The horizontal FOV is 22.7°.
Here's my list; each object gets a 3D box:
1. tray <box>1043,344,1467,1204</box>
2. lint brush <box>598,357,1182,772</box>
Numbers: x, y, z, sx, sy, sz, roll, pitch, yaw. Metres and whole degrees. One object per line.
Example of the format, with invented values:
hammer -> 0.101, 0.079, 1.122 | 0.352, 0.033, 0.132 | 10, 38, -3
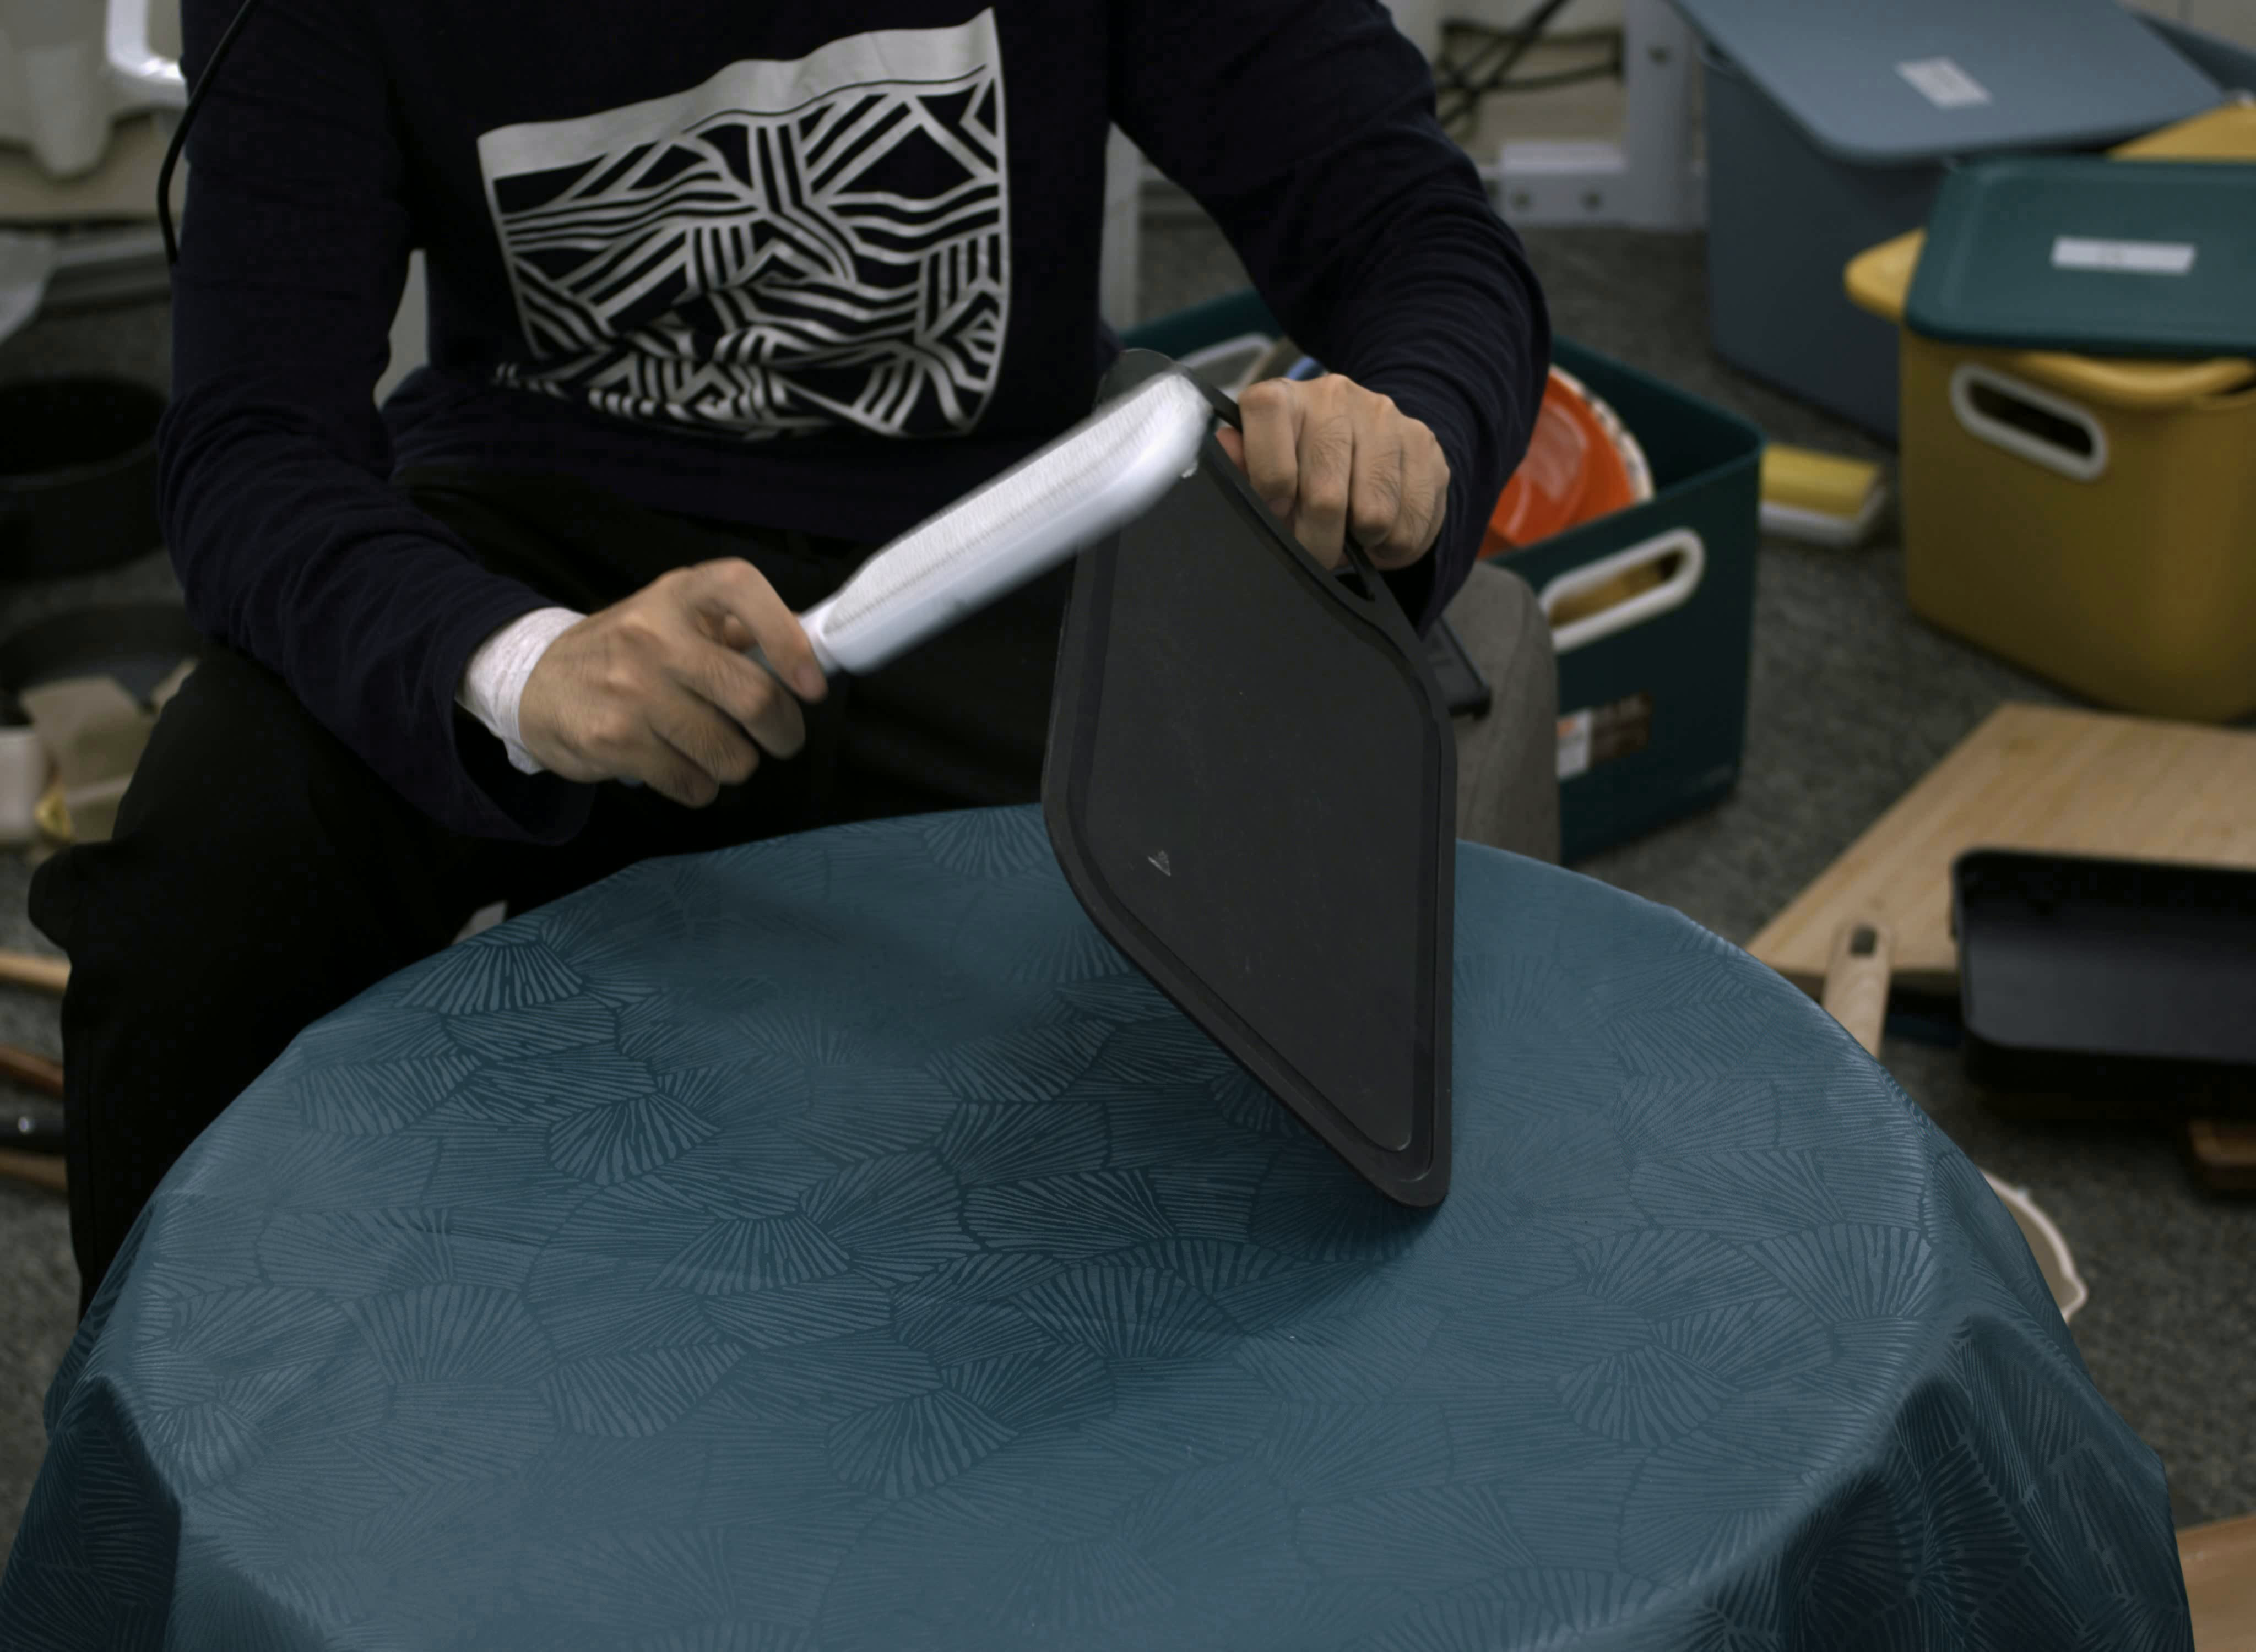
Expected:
tray -> 0.048, -0.029, 1.910 | 0.009, 0.210, 0.332 | -31, 29, 26
lint brush -> -0.086, -0.084, 1.924 | 0.304, 0.021, 0.061 | -30, 26, 41
